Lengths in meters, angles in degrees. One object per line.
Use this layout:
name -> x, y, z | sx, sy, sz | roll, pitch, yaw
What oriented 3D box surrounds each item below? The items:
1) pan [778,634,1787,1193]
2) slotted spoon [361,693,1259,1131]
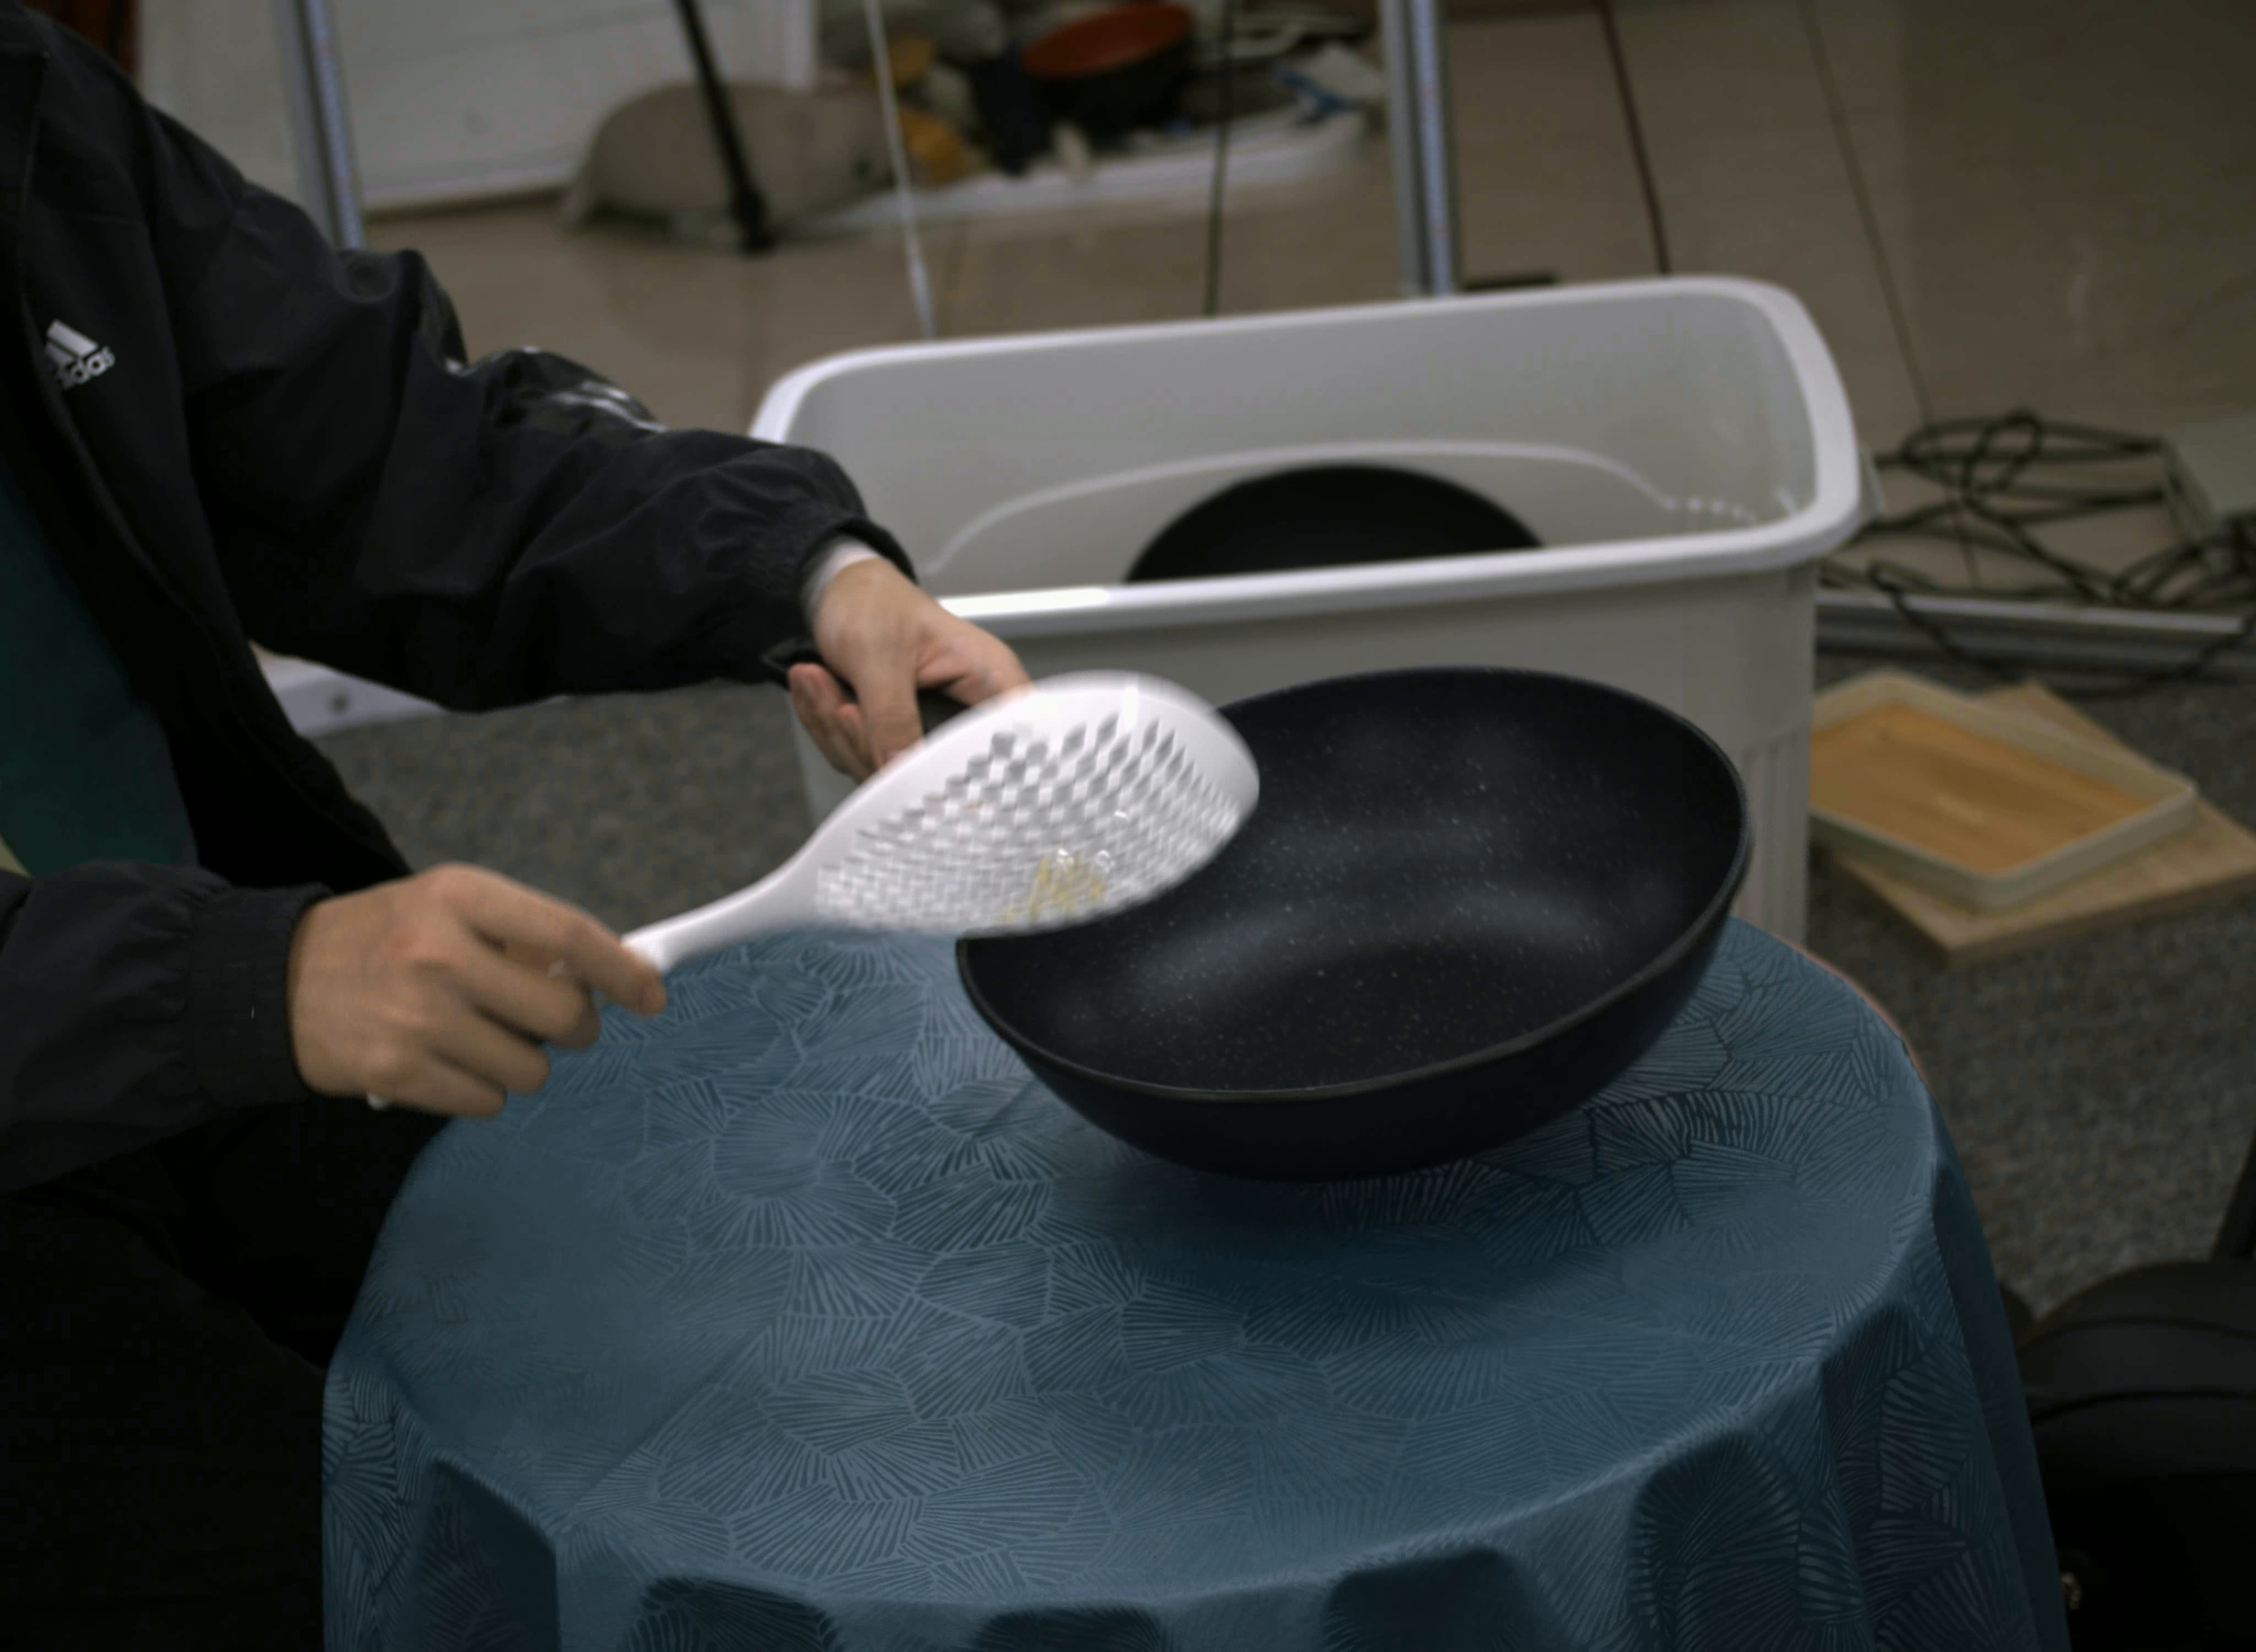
pan -> 0.039, 0.026, 2.221 | 0.473, 0.113, 0.307 | 18, 40, 40
slotted spoon -> -0.117, 0.041, 2.013 | 0.348, 0.138, 0.049 | -18, 61, 18
